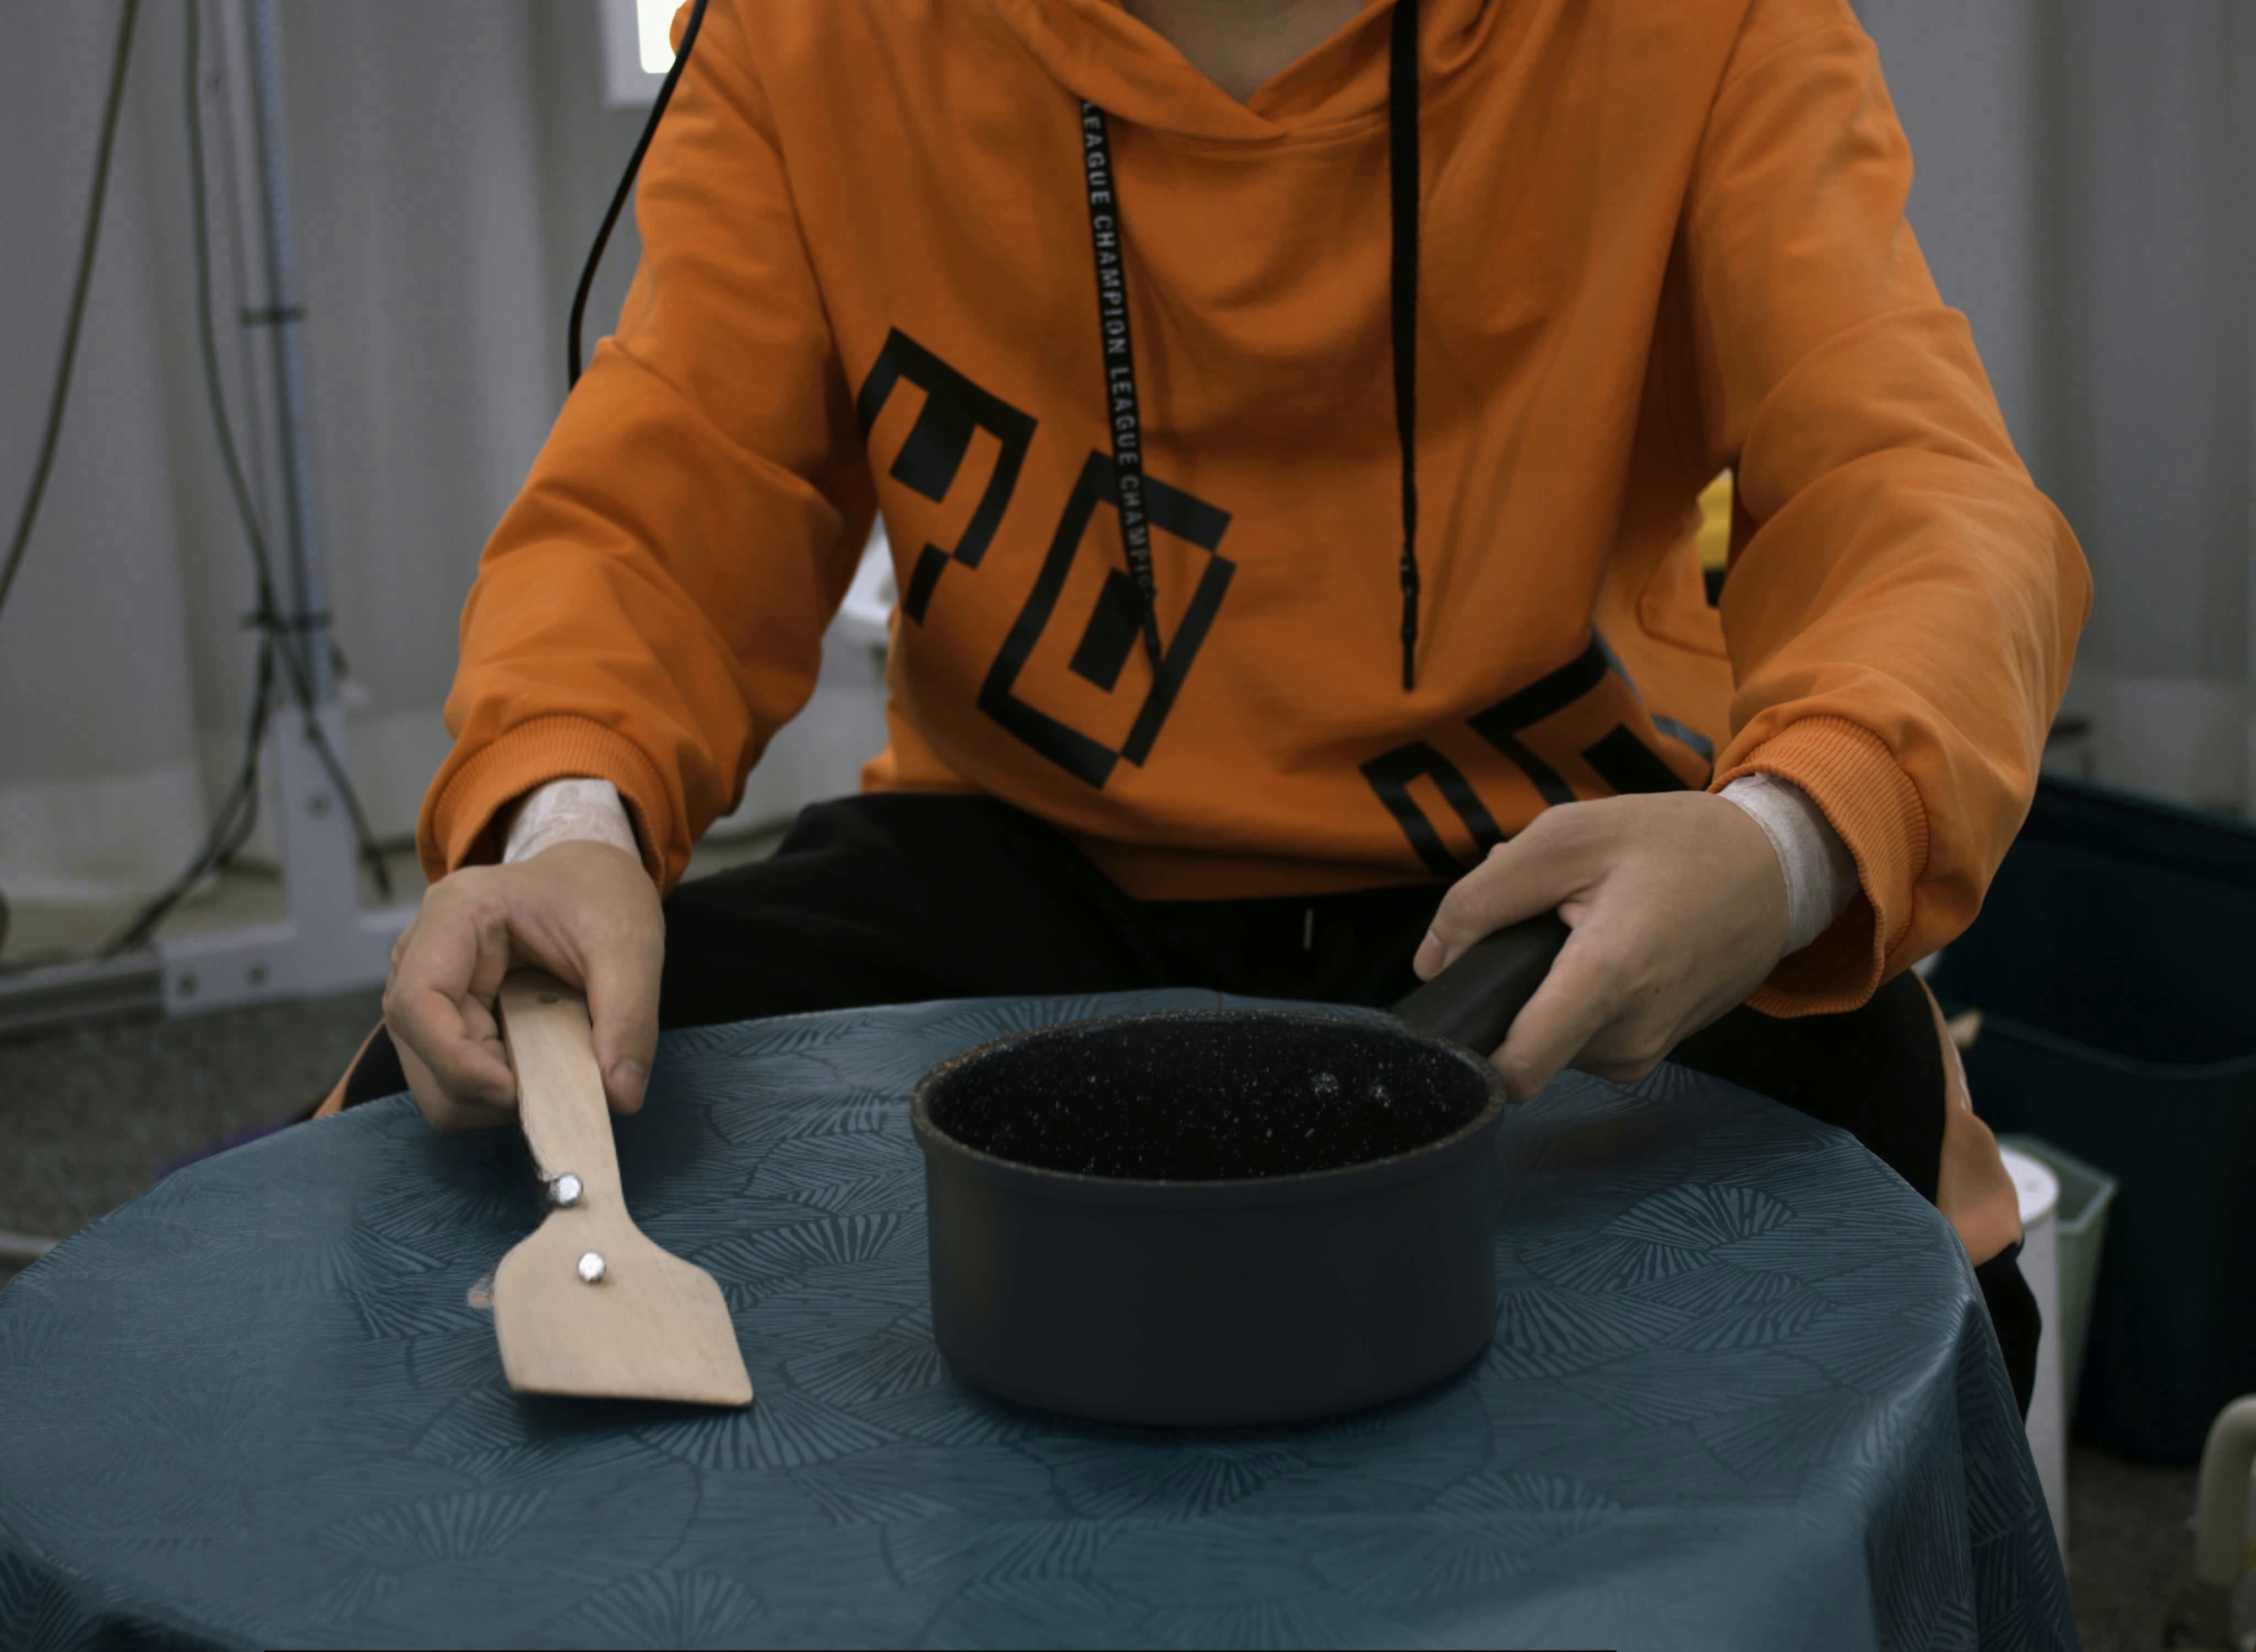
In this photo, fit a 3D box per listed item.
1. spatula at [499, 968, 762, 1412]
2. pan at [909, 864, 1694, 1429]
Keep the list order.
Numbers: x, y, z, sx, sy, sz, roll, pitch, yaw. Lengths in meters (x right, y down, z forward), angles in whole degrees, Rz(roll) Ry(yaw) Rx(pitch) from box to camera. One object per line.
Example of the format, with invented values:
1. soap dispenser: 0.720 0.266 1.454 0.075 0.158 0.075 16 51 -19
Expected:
1. spatula: -0.164 0.106 1.667 0.072 0.010 0.296 6 22 -14
2. pan: 0.070 0.091 1.629 0.173 0.086 0.328 9 19 35
